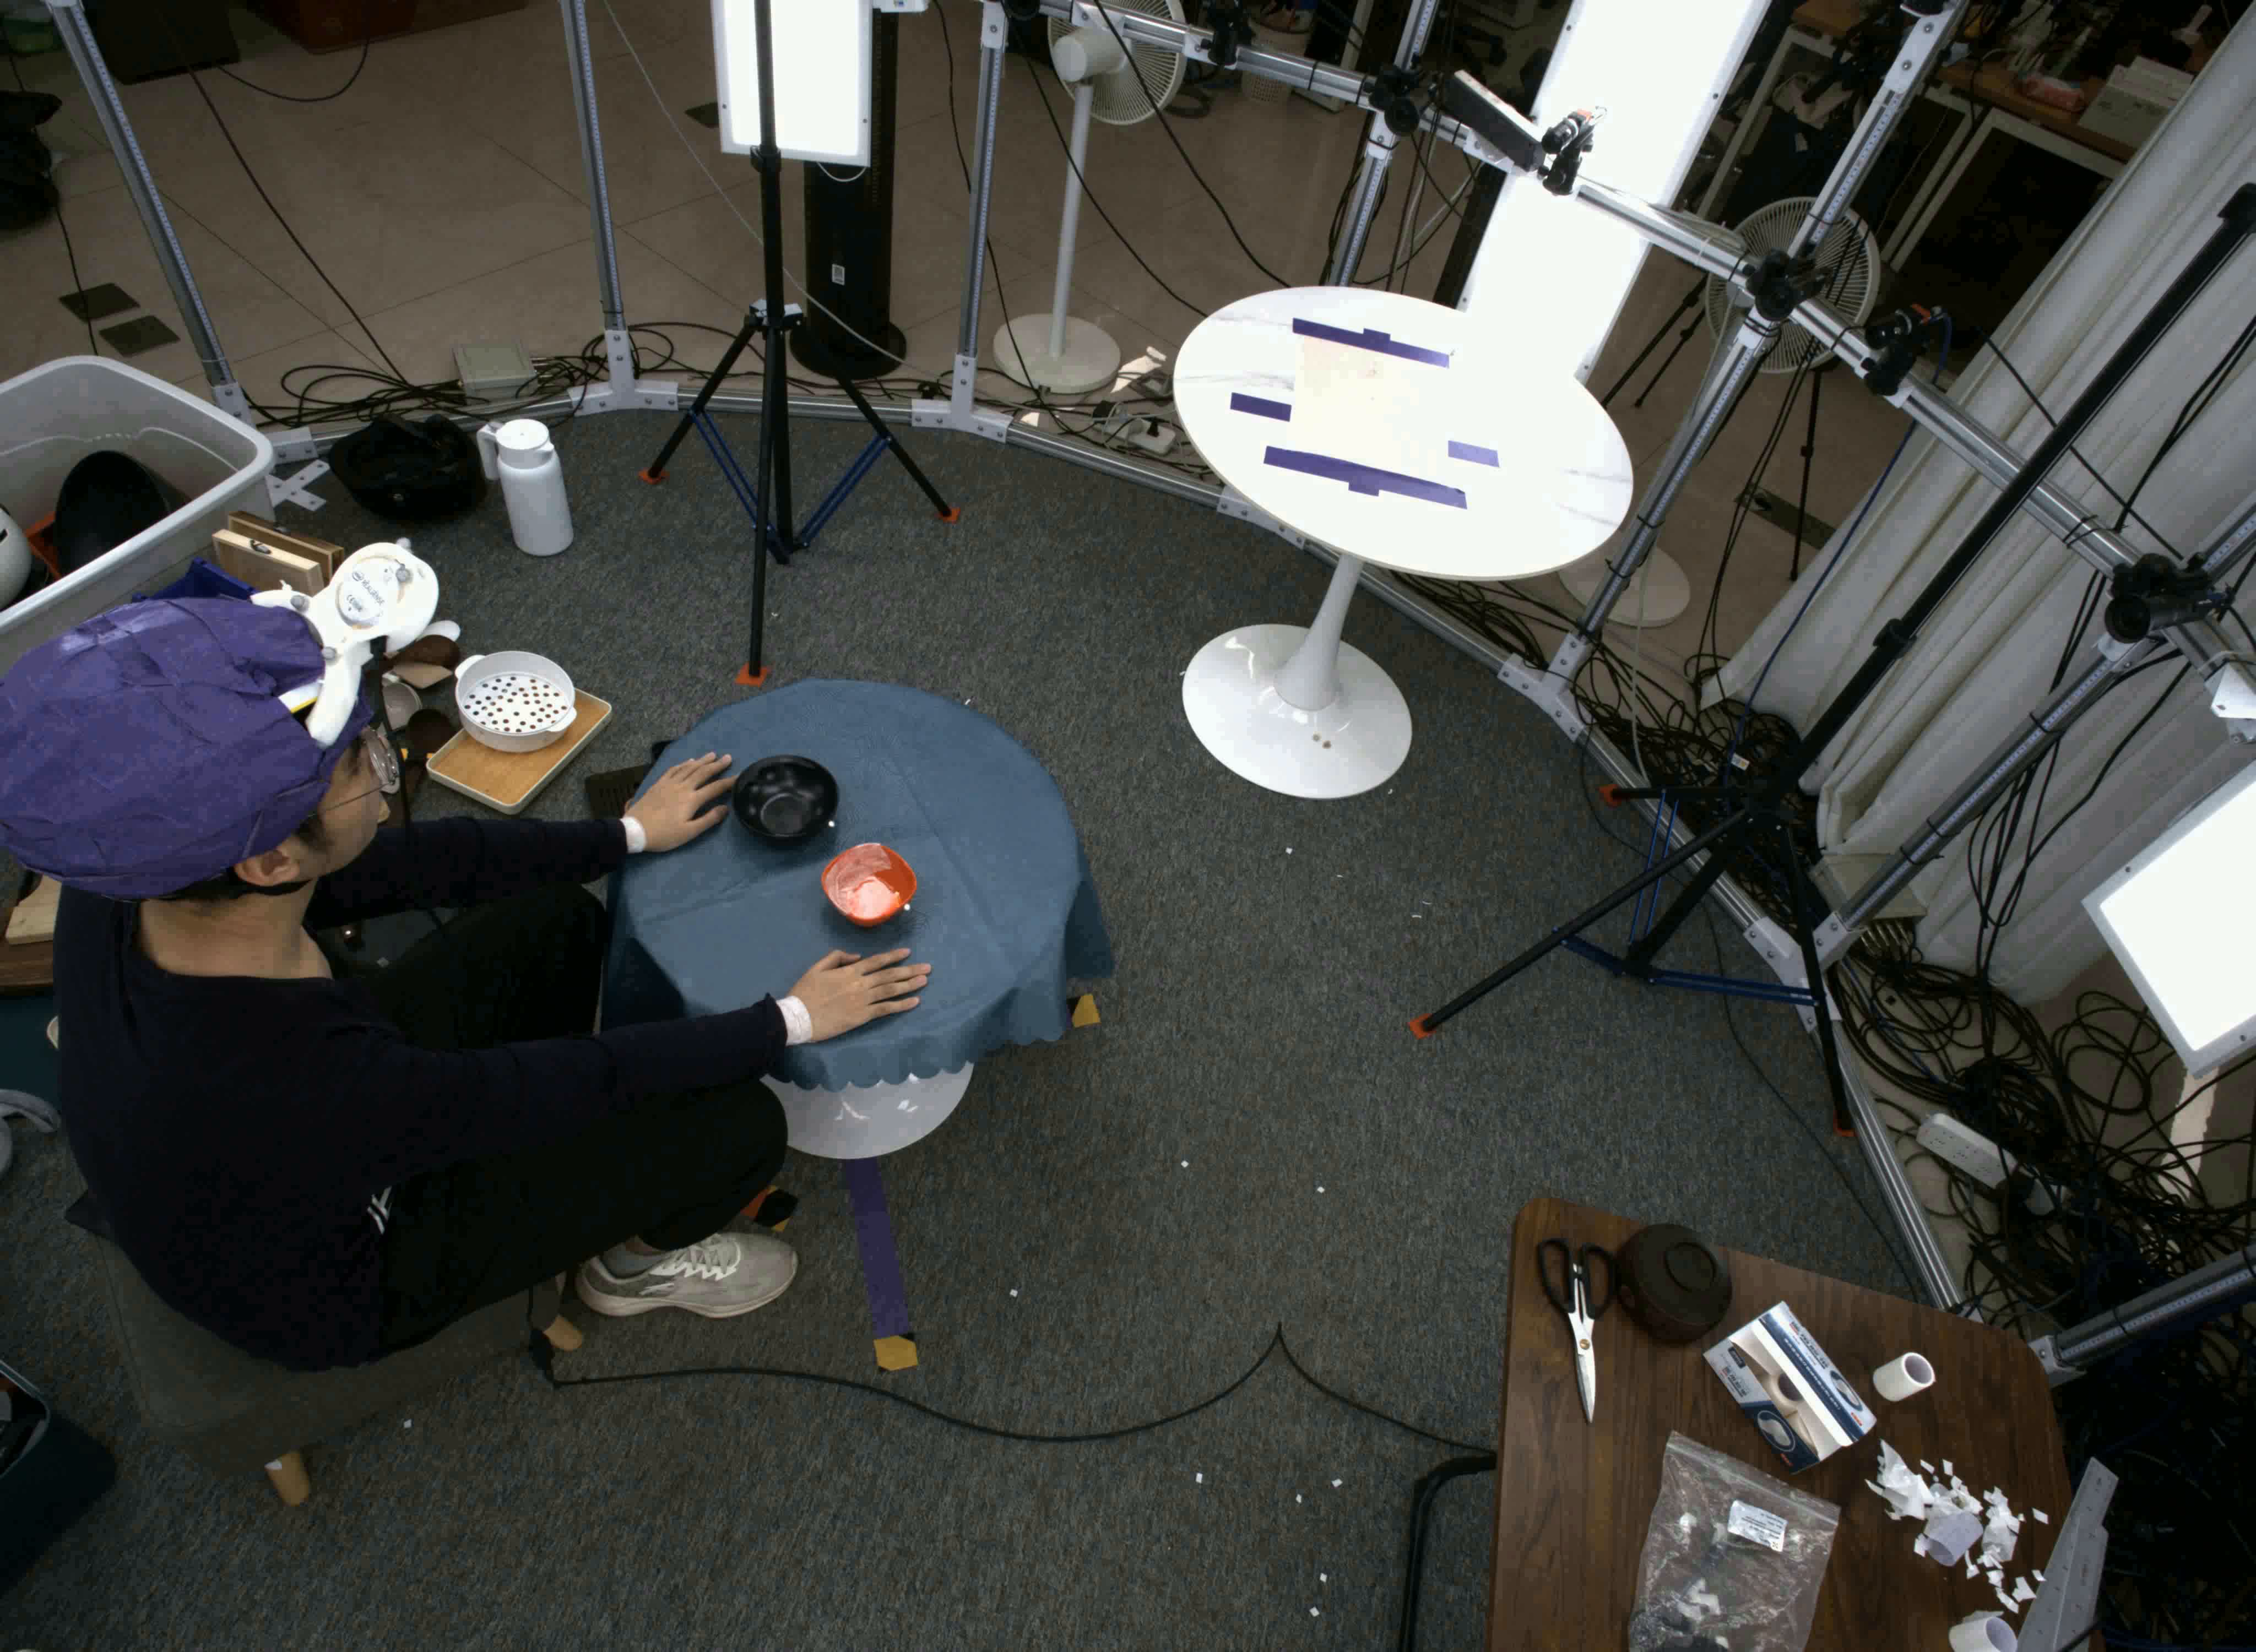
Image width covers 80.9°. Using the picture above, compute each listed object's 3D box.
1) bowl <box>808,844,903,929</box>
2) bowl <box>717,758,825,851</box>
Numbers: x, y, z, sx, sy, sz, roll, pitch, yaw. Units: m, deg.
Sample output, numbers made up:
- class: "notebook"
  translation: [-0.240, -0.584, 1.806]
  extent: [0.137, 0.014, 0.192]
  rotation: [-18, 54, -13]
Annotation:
- class: "bowl"
  translation: [-0.348, 0.084, 1.659]
  extent: [0.119, 0.052, 0.117]
  rotation: [9, 52, -10]
- class: "bowl"
  translation: [-0.470, -0.021, 1.711]
  extent: [0.139, 0.051, 0.138]
  rotation: [5, 56, -6]
